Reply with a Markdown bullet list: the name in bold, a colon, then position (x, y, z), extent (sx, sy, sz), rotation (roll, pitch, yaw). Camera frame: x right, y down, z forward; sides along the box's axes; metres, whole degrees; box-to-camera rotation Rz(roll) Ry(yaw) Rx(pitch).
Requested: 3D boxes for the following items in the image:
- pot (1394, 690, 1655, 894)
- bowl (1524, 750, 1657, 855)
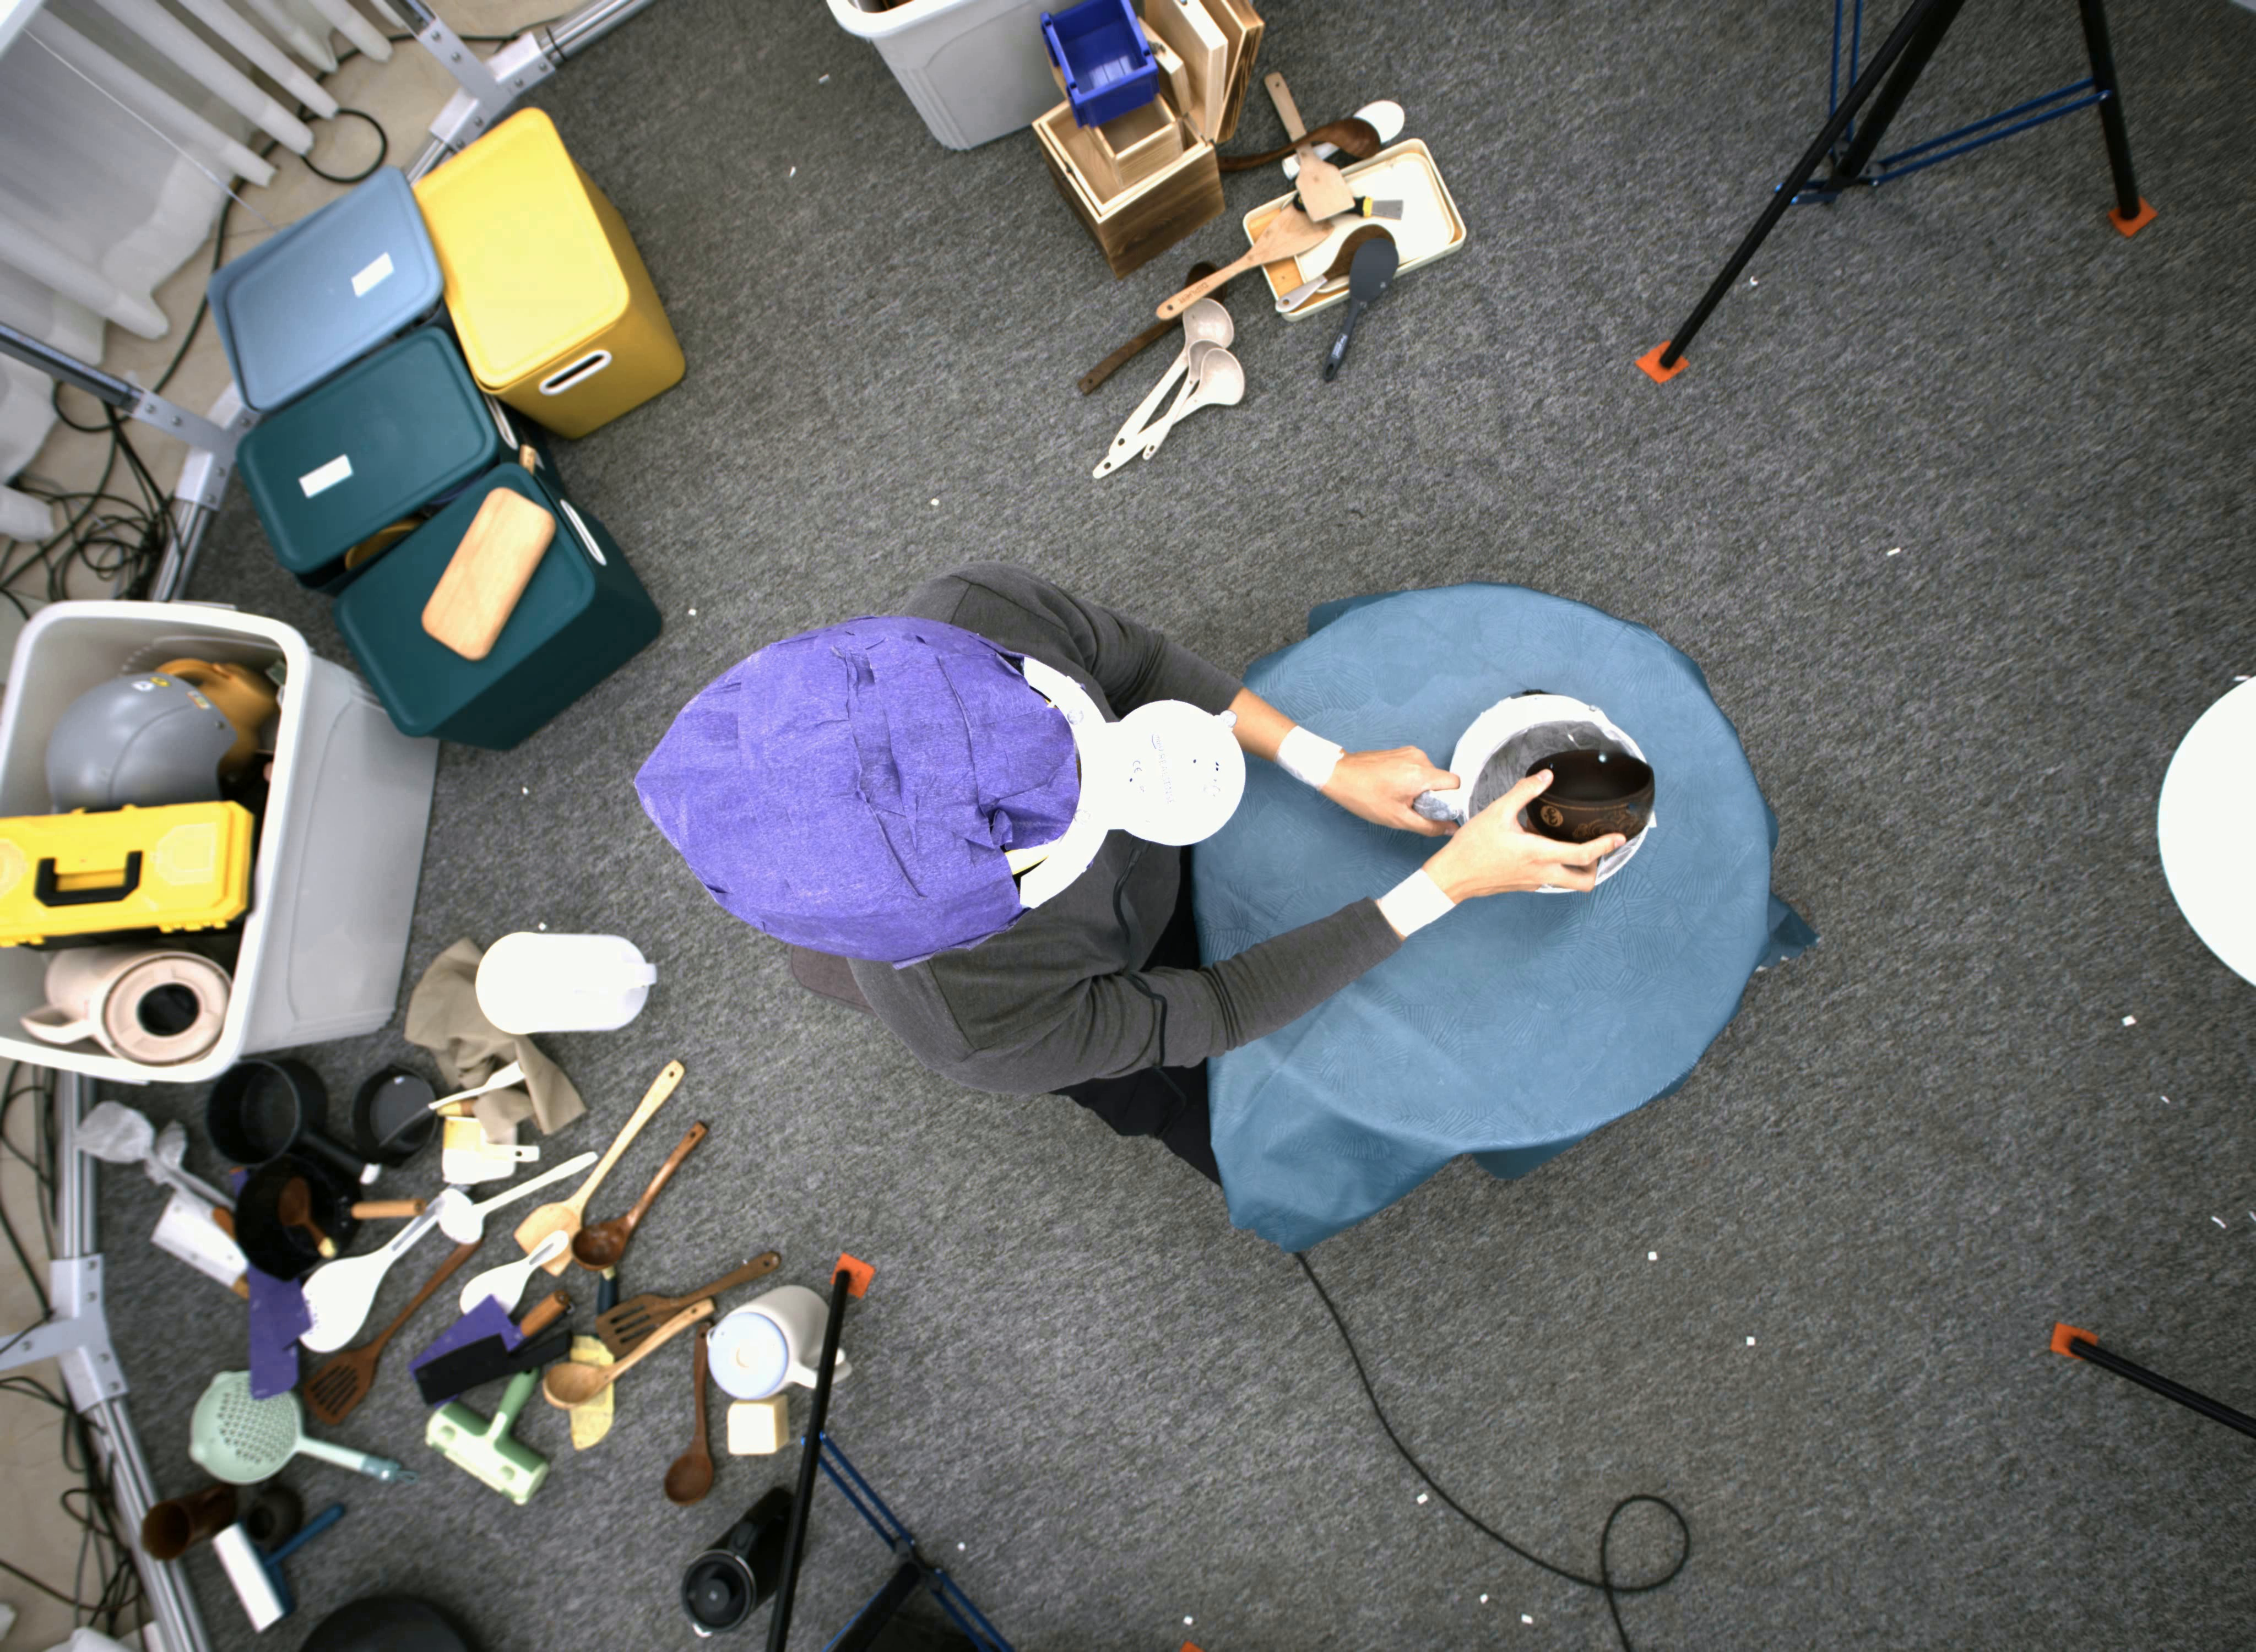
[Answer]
- **pot**: position (0.384, -0.037, 1.355), extent (0.234, 0.134, 0.181), rotation (-5, 107, 7)
- **bowl**: position (0.430, -0.019, 1.273), extent (0.118, 0.115, 0.071), rotation (-6, 118, 10)
